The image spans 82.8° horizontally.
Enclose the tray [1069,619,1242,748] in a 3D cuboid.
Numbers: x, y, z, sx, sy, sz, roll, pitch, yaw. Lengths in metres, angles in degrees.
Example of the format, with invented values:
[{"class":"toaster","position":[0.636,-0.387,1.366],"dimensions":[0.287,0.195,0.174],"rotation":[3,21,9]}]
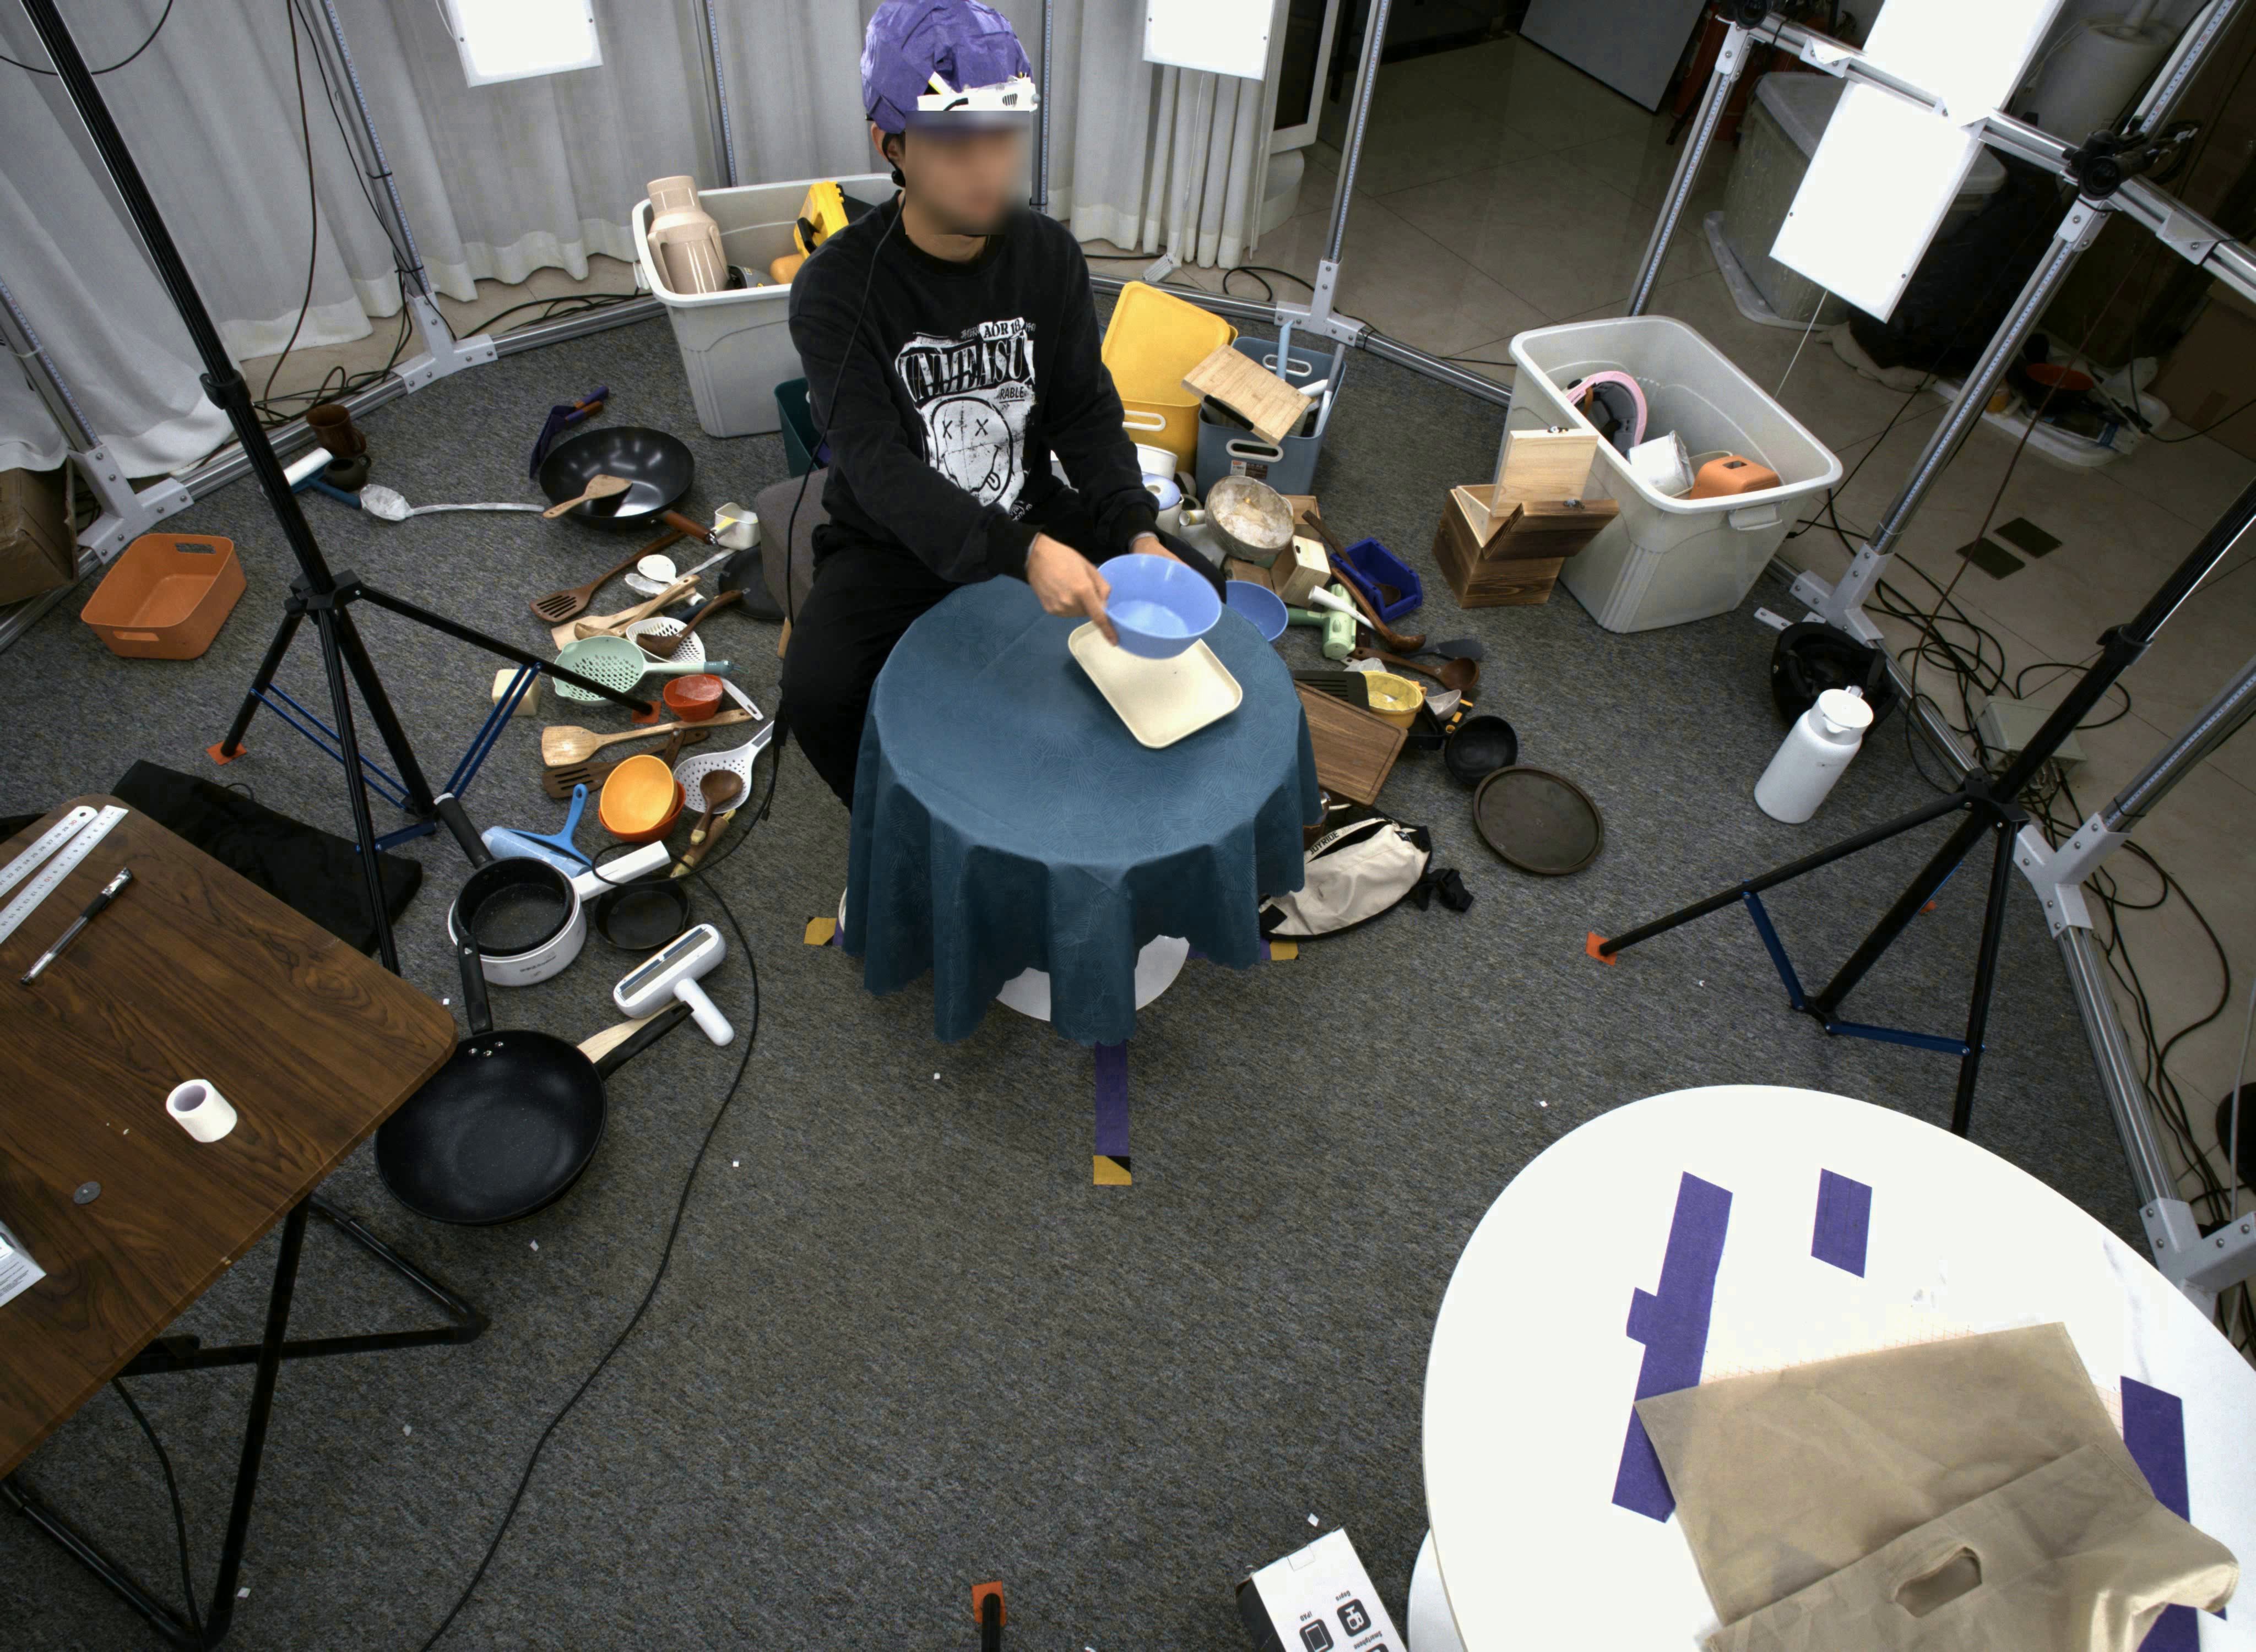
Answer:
[{"class":"tray","position":[0.038,-0.221,1.844],"dimensions":[0.172,0.017,0.244],"rotation":[-28,61,-16]}]

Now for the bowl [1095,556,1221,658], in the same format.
[{"class":"bowl","position":[0.034,-0.290,1.750],"dimensions":[0.175,0.069,0.180],"rotation":[9,44,-9]}]
